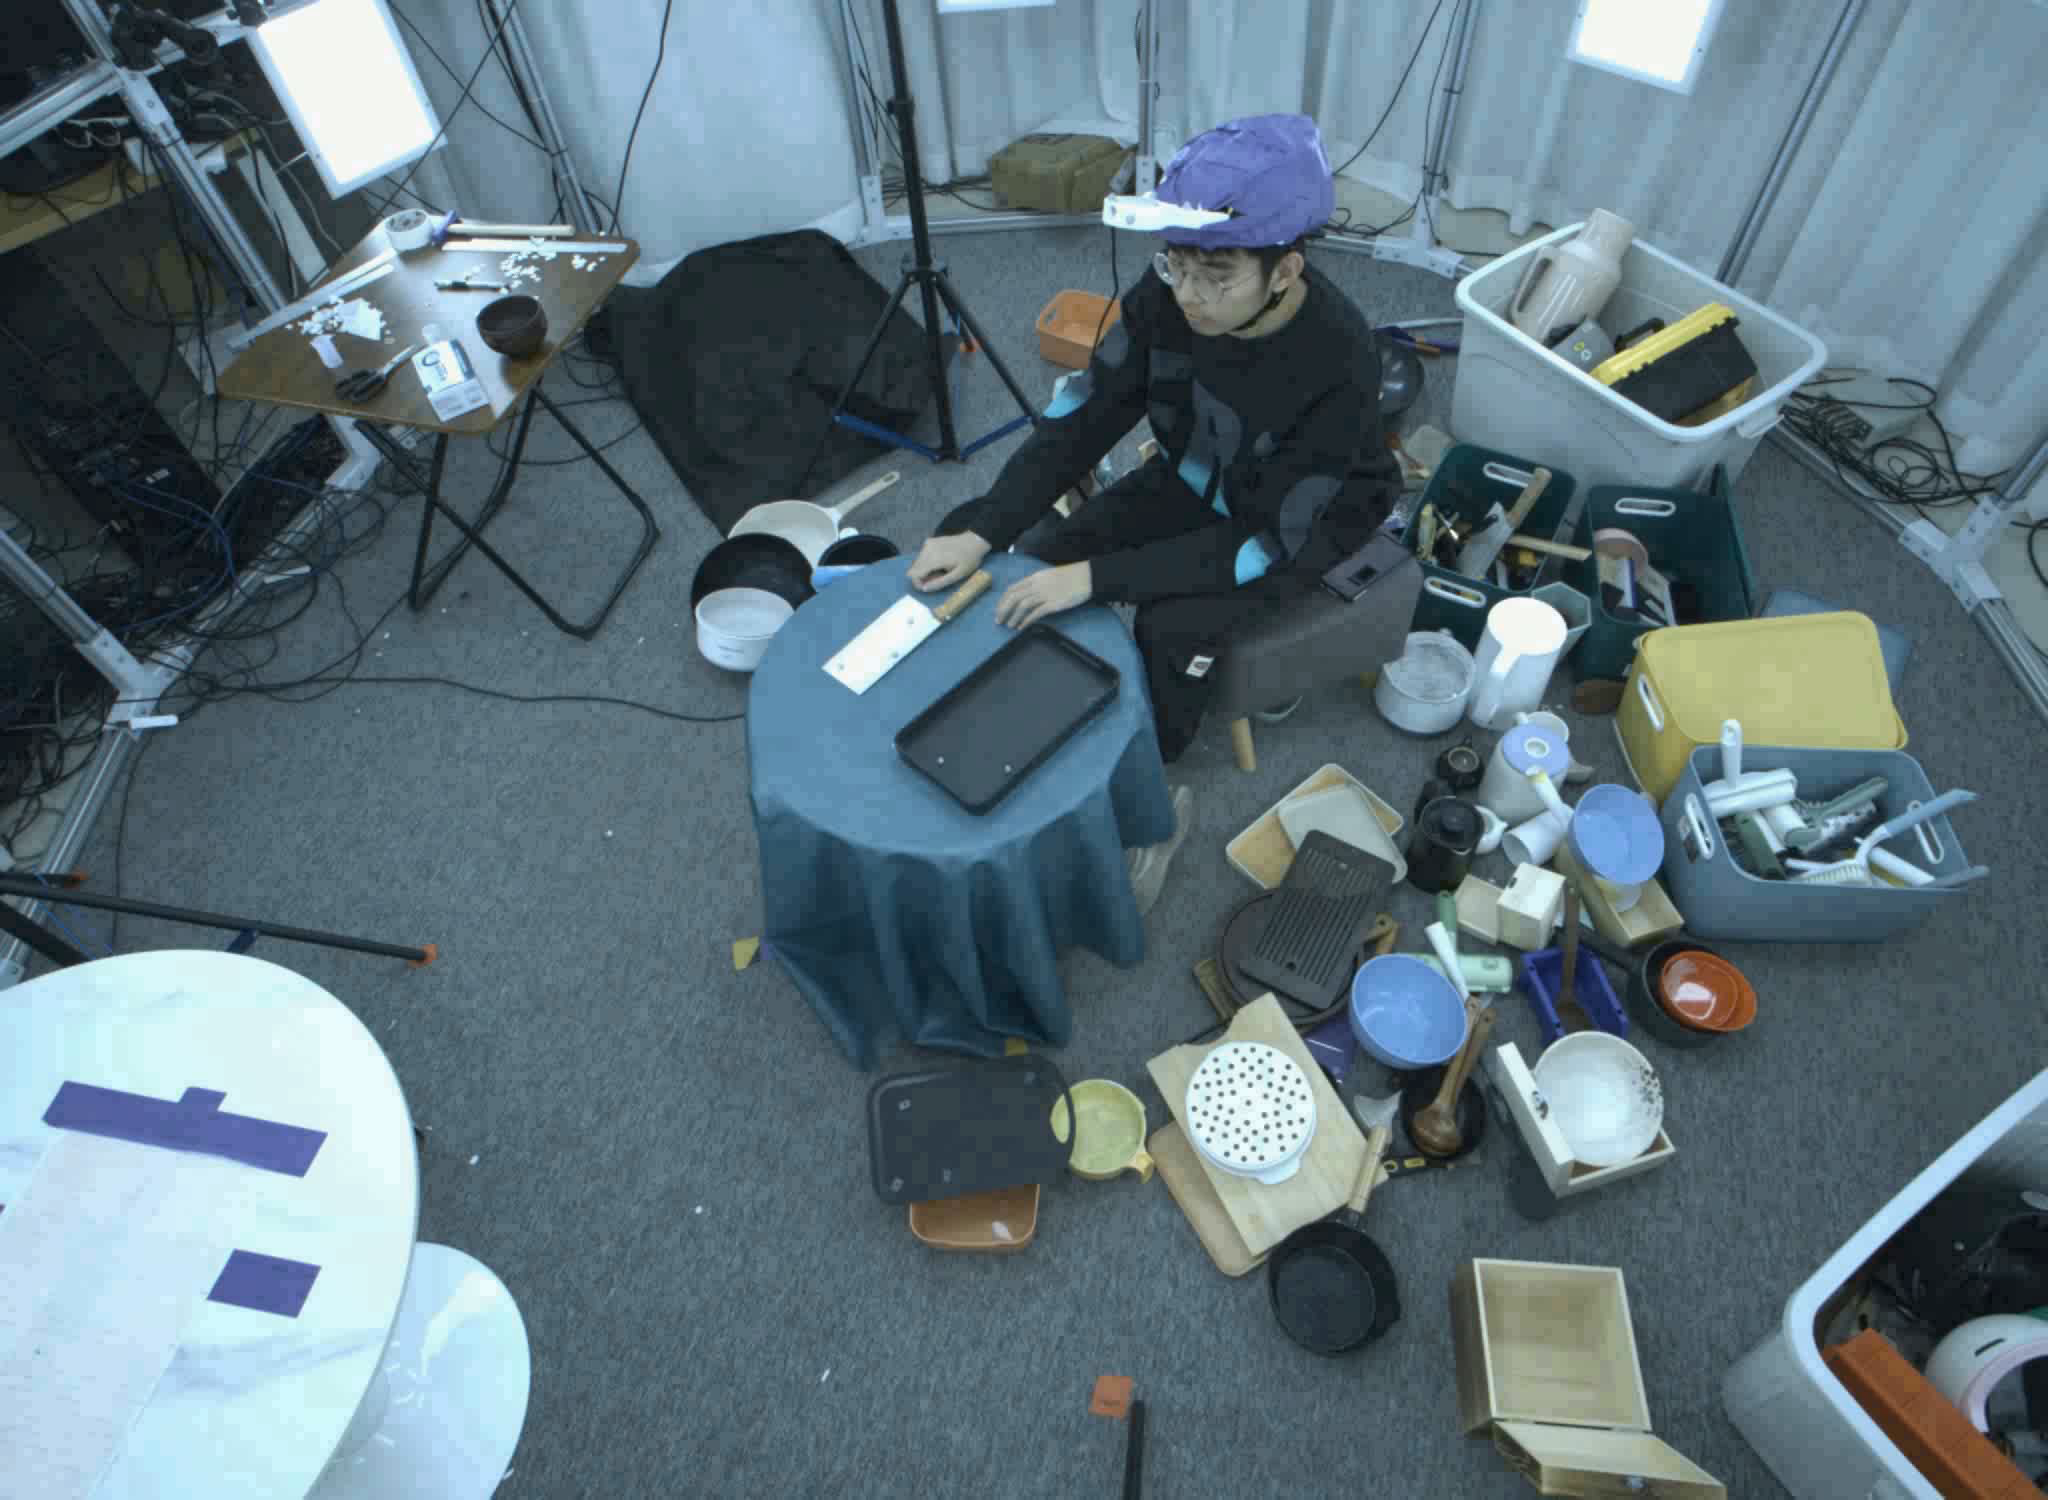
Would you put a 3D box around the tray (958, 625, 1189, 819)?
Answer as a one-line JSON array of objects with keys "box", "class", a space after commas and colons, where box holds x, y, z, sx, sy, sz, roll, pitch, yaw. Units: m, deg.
[{"box": [0.074, -0.046, 1.795, 0.320, 0.037, 0.181, -39, 62, -23], "class": "tray"}]

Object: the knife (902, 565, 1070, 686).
[{"box": [-0.063, -0.210, 1.928, 0.307, 0.021, 0.091, -40, 61, -20], "class": "knife"}]
